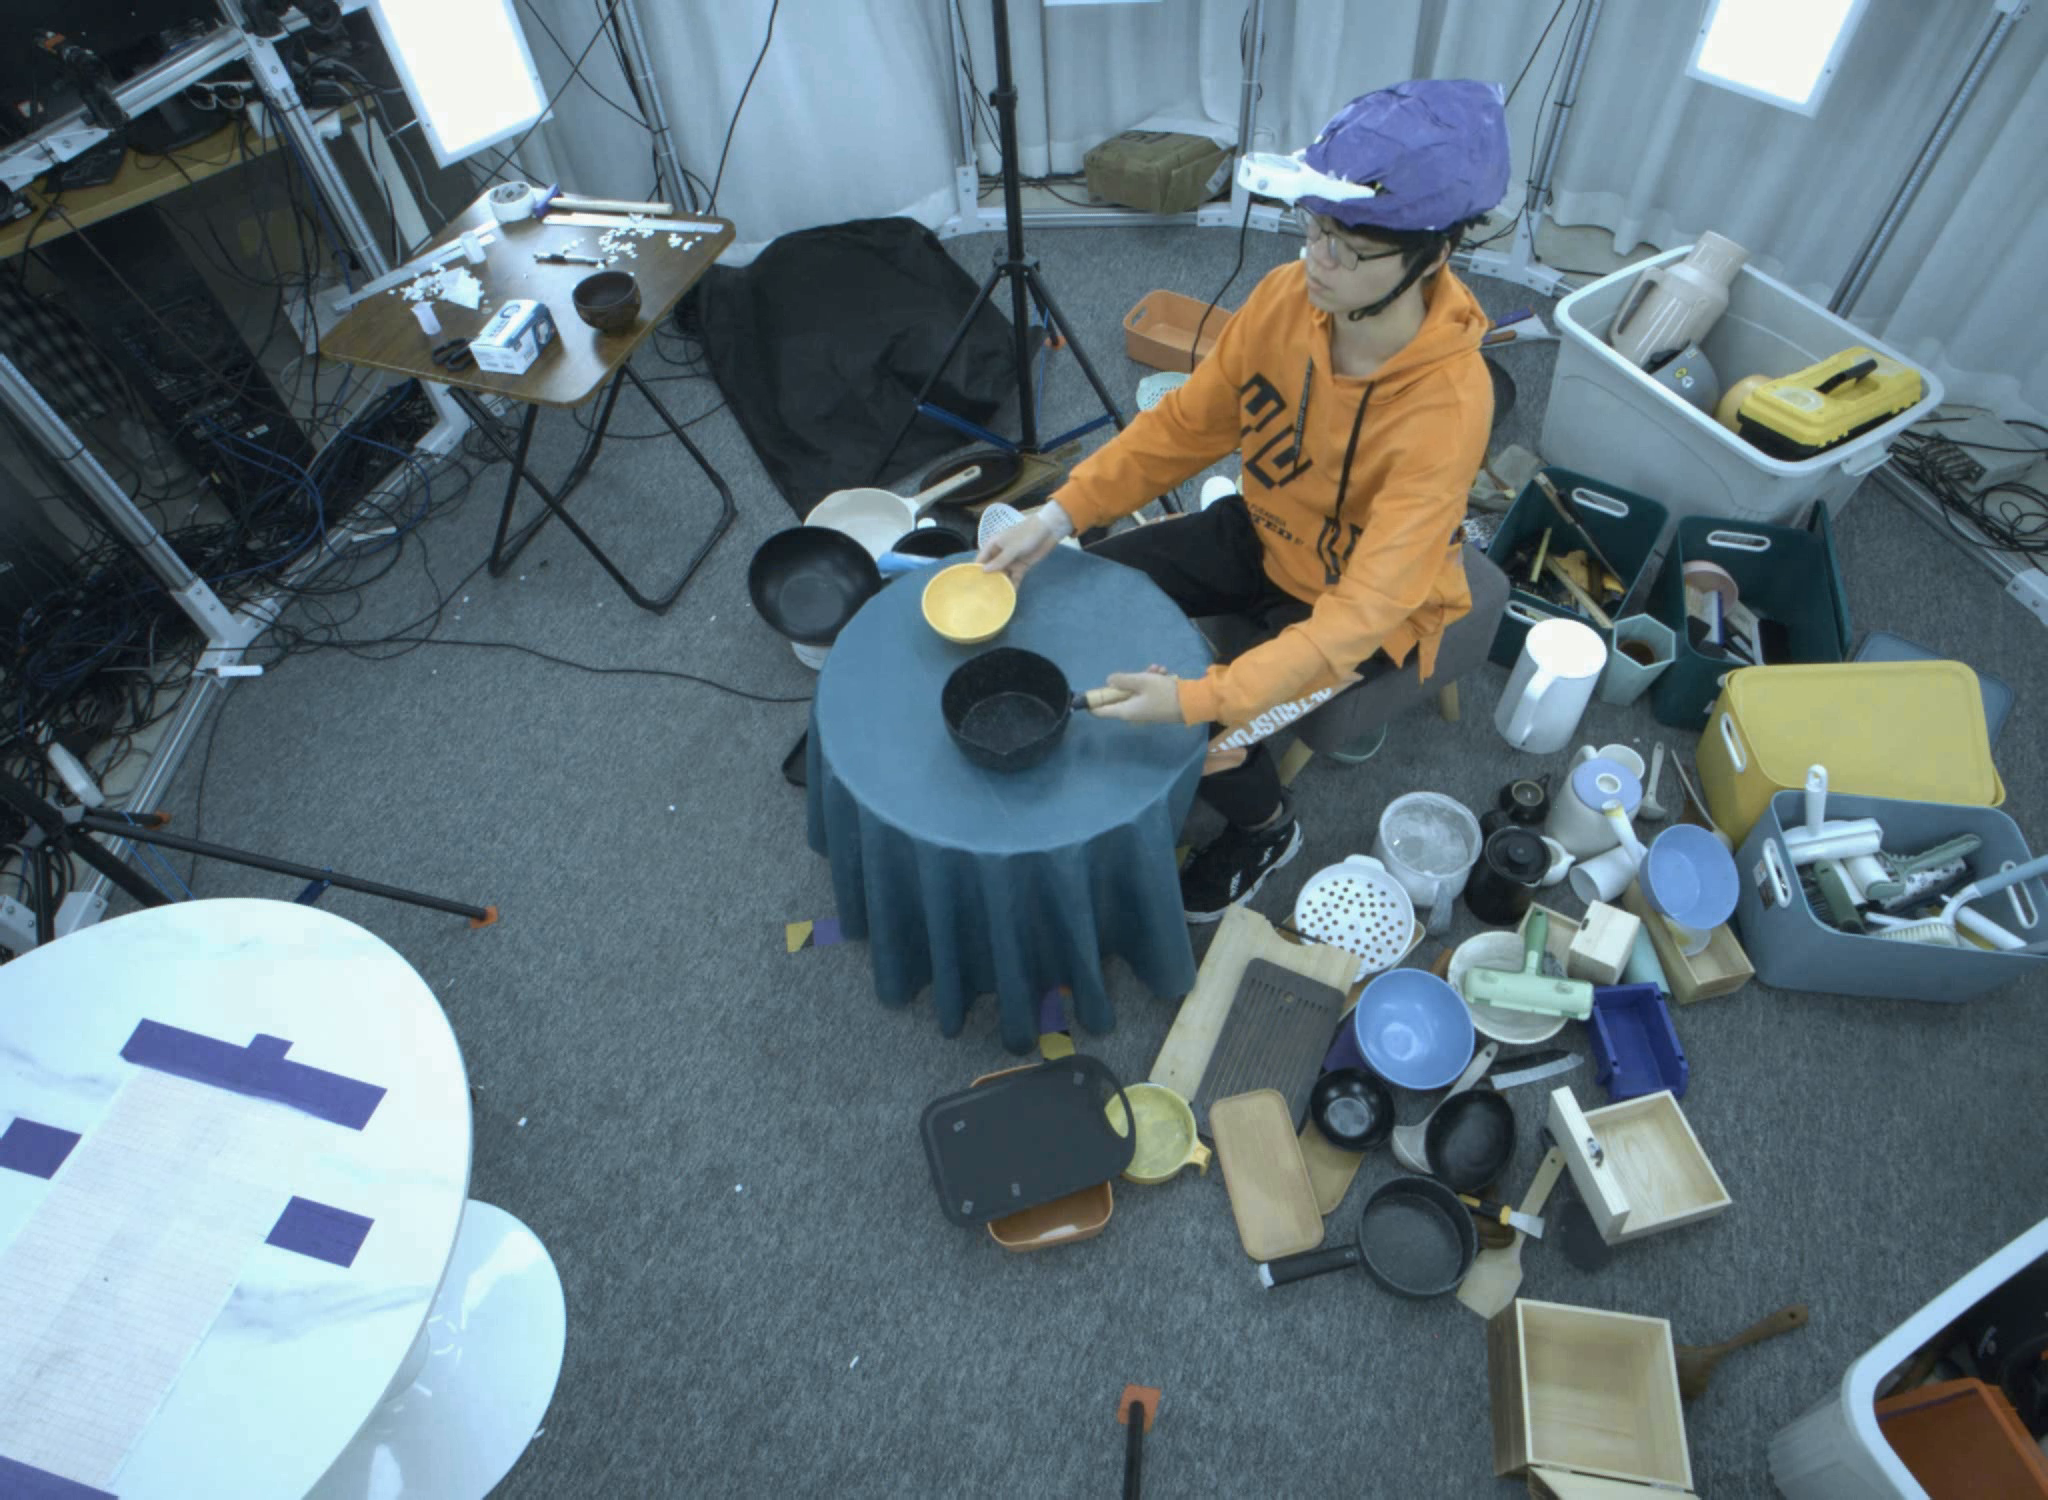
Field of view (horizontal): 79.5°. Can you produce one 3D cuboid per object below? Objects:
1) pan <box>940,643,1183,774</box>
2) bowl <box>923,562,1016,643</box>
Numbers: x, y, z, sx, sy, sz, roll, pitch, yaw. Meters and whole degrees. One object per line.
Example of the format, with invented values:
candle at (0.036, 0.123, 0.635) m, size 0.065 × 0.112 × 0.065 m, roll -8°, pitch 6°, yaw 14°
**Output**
pan at (0.055, -0.062, 1.761) m, size 0.342 × 0.109 × 0.205 m, roll -4°, pitch 53°, yaw 2°
bowl at (-0.084, -0.217, 1.899) m, size 0.145 × 0.060 × 0.144 m, roll 1°, pitch 61°, yaw 0°
